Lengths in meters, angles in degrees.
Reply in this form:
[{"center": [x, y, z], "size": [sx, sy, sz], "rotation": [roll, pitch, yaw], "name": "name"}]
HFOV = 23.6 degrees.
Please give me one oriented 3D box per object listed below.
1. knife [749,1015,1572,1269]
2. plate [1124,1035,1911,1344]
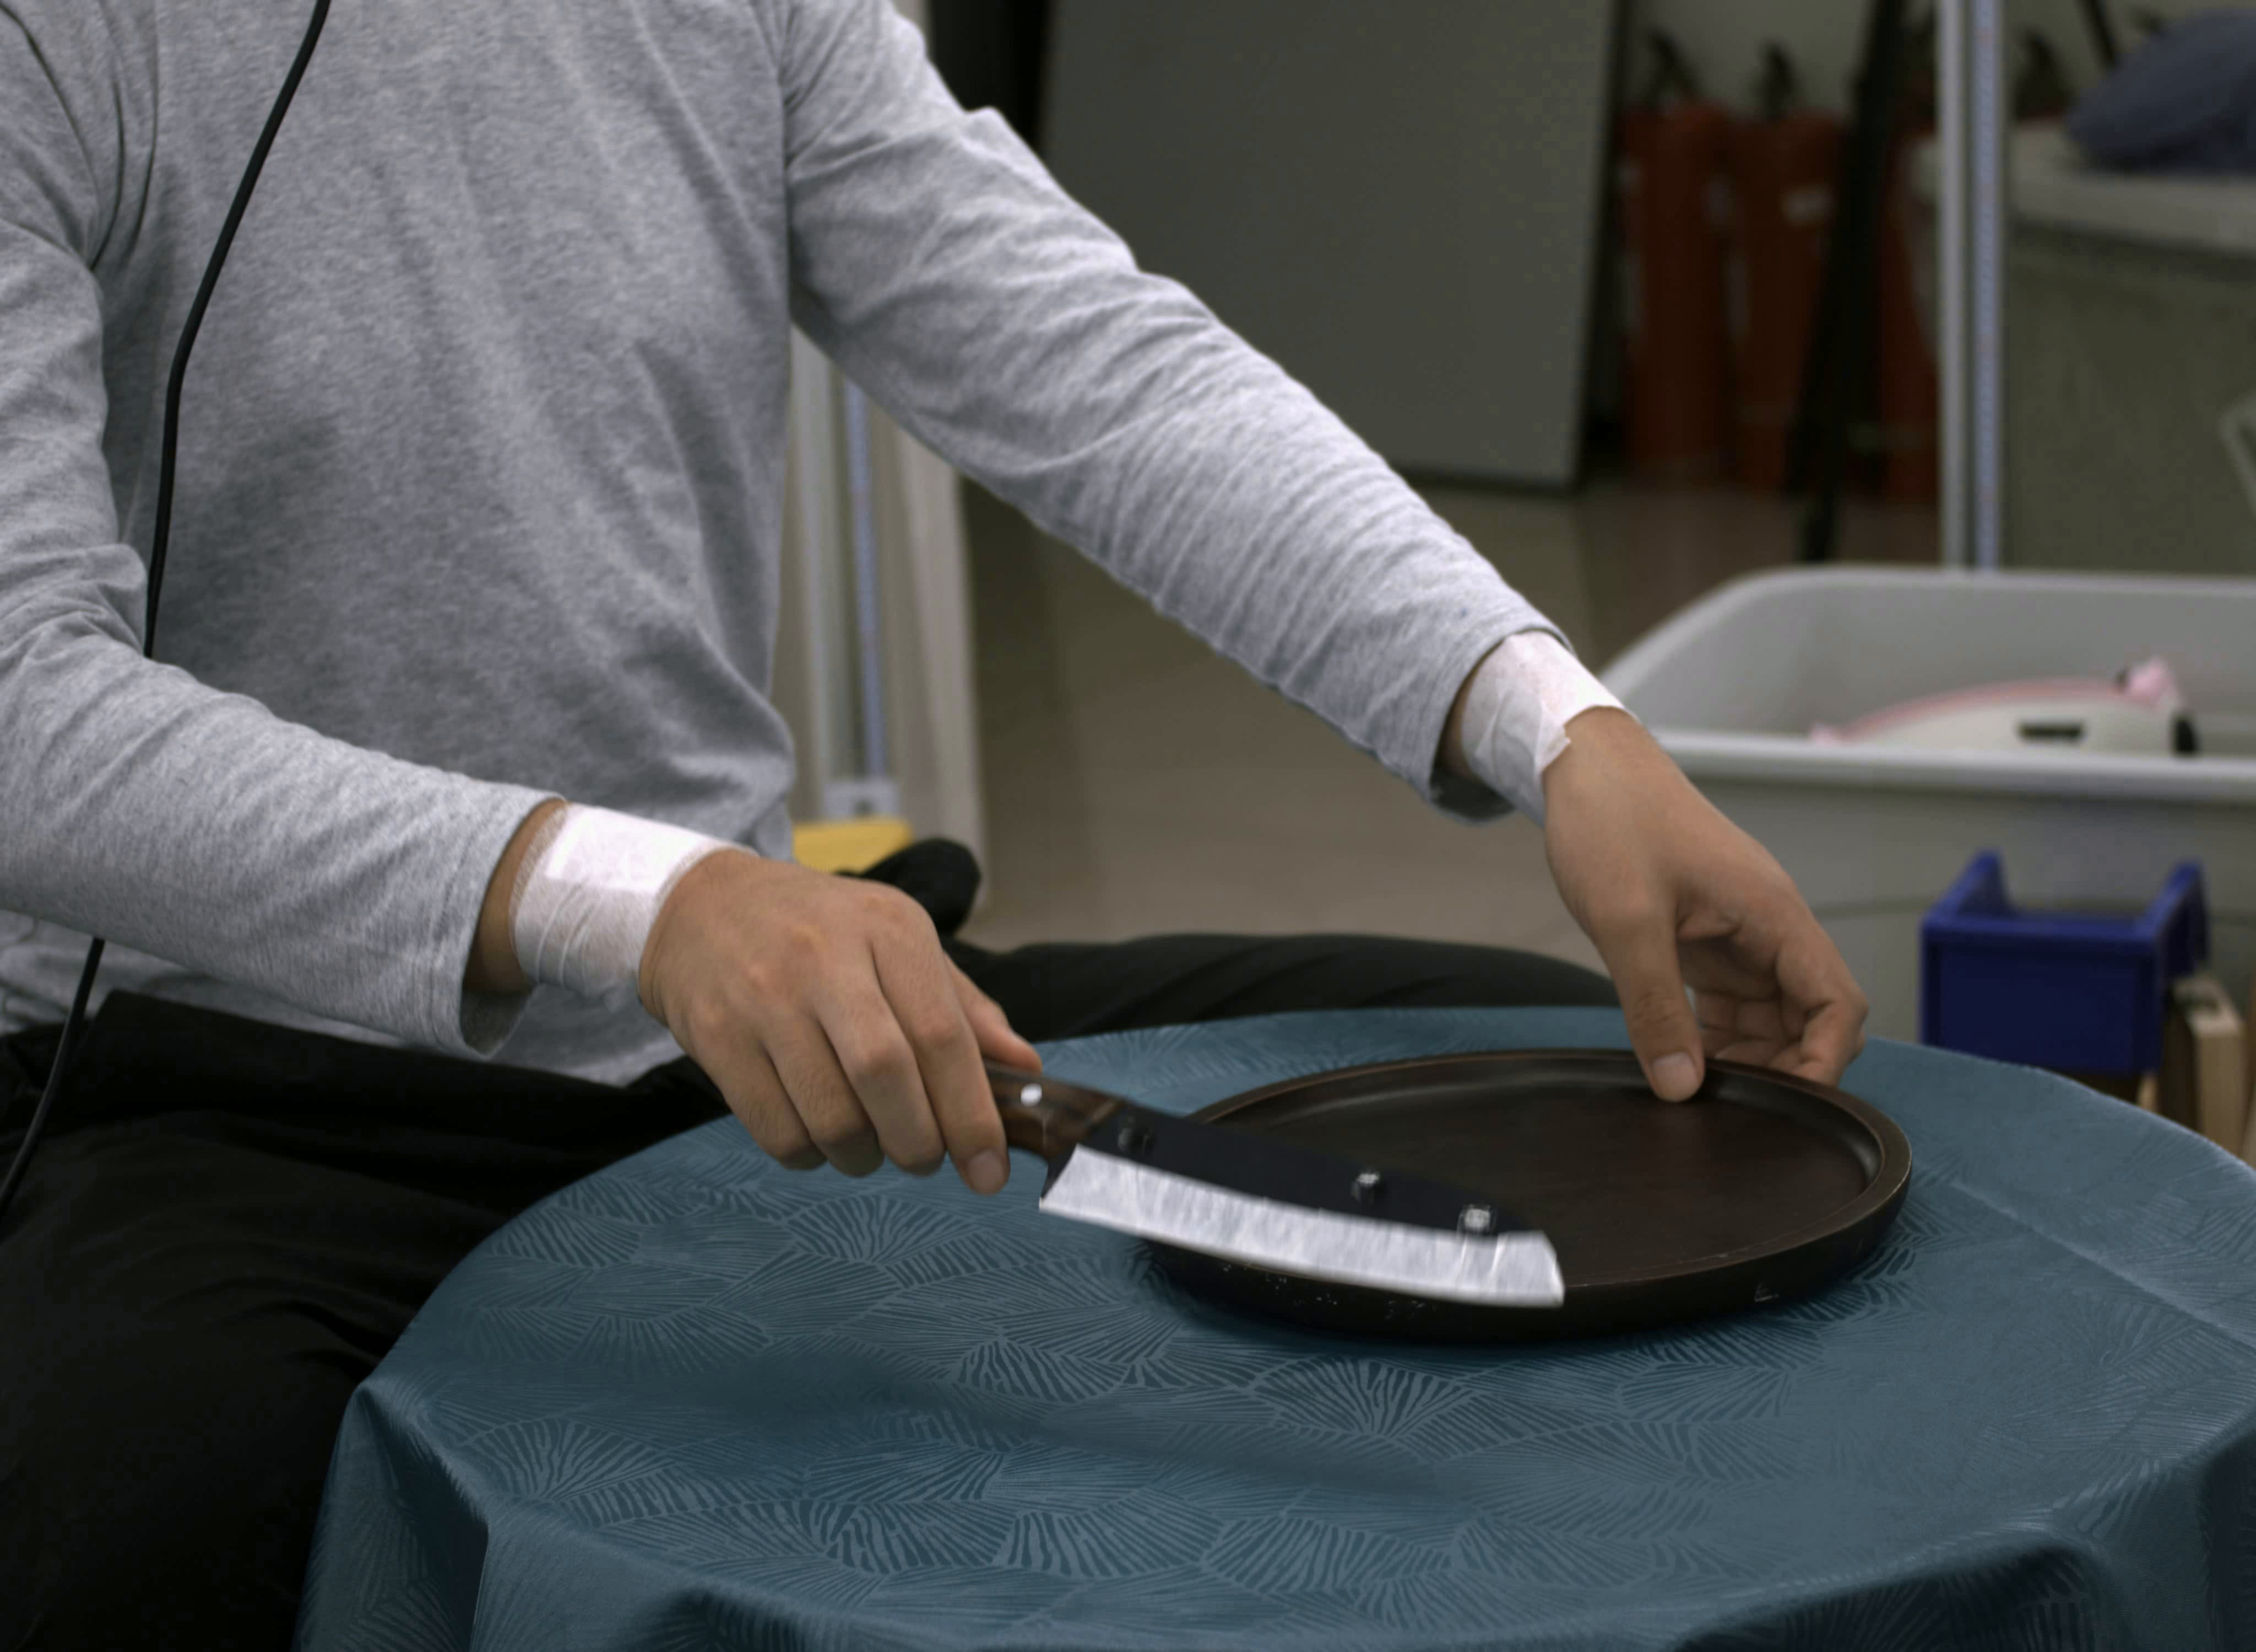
[{"center": [0.004, 0.091, 1.558], "size": [0.291, 0.020, 0.050], "rotation": [12, 54, 33], "name": "knife"}, {"center": [0.123, 0.116, 1.709], "size": [0.251, 0.029, 0.255], "rotation": [-6, 14, 1], "name": "plate"}]
